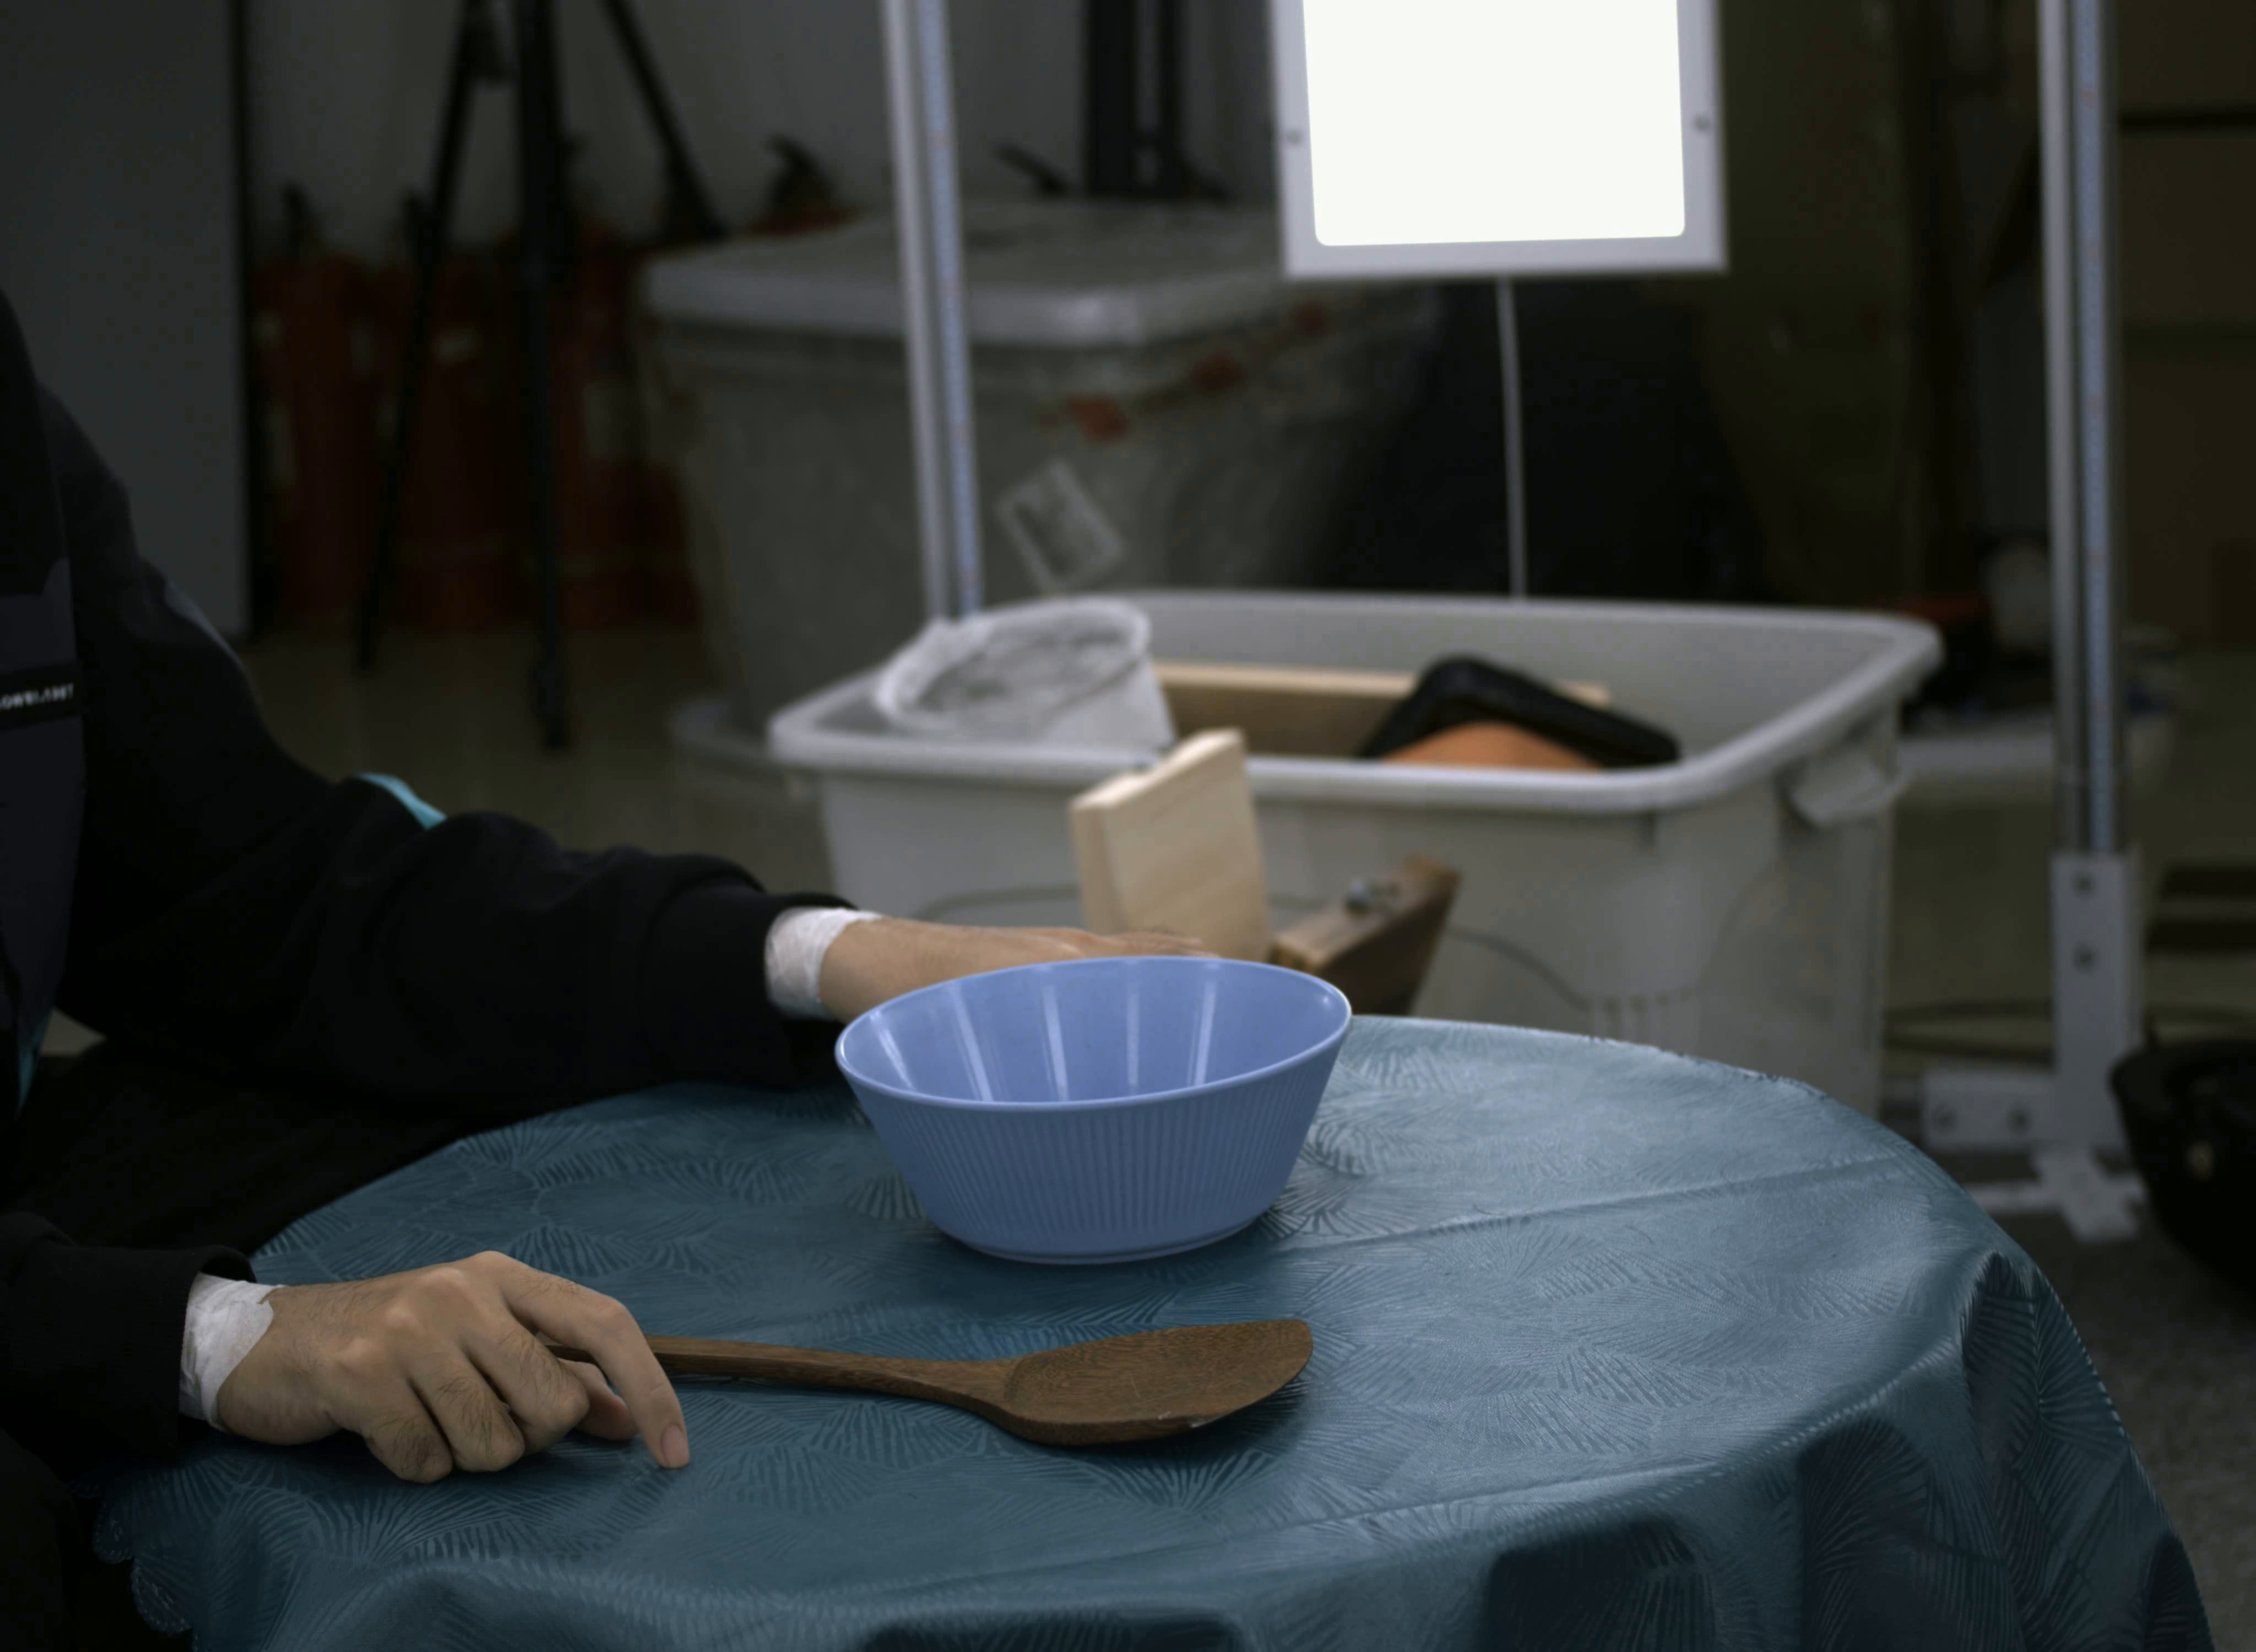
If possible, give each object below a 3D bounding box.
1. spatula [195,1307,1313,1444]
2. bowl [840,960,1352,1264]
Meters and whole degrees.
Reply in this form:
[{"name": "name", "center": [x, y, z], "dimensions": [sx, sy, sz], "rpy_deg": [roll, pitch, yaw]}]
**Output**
[{"name": "spatula", "center": [-0.128, 0.168, 1.744], "dimensions": [0.392, 0.016, 0.094], "rpy_deg": [1, 14, 24]}, {"name": "bowl", "center": [-0.008, 0.099, 1.866], "dimensions": [0.175, 0.070, 0.176], "rpy_deg": [-6, 13, 0]}]
